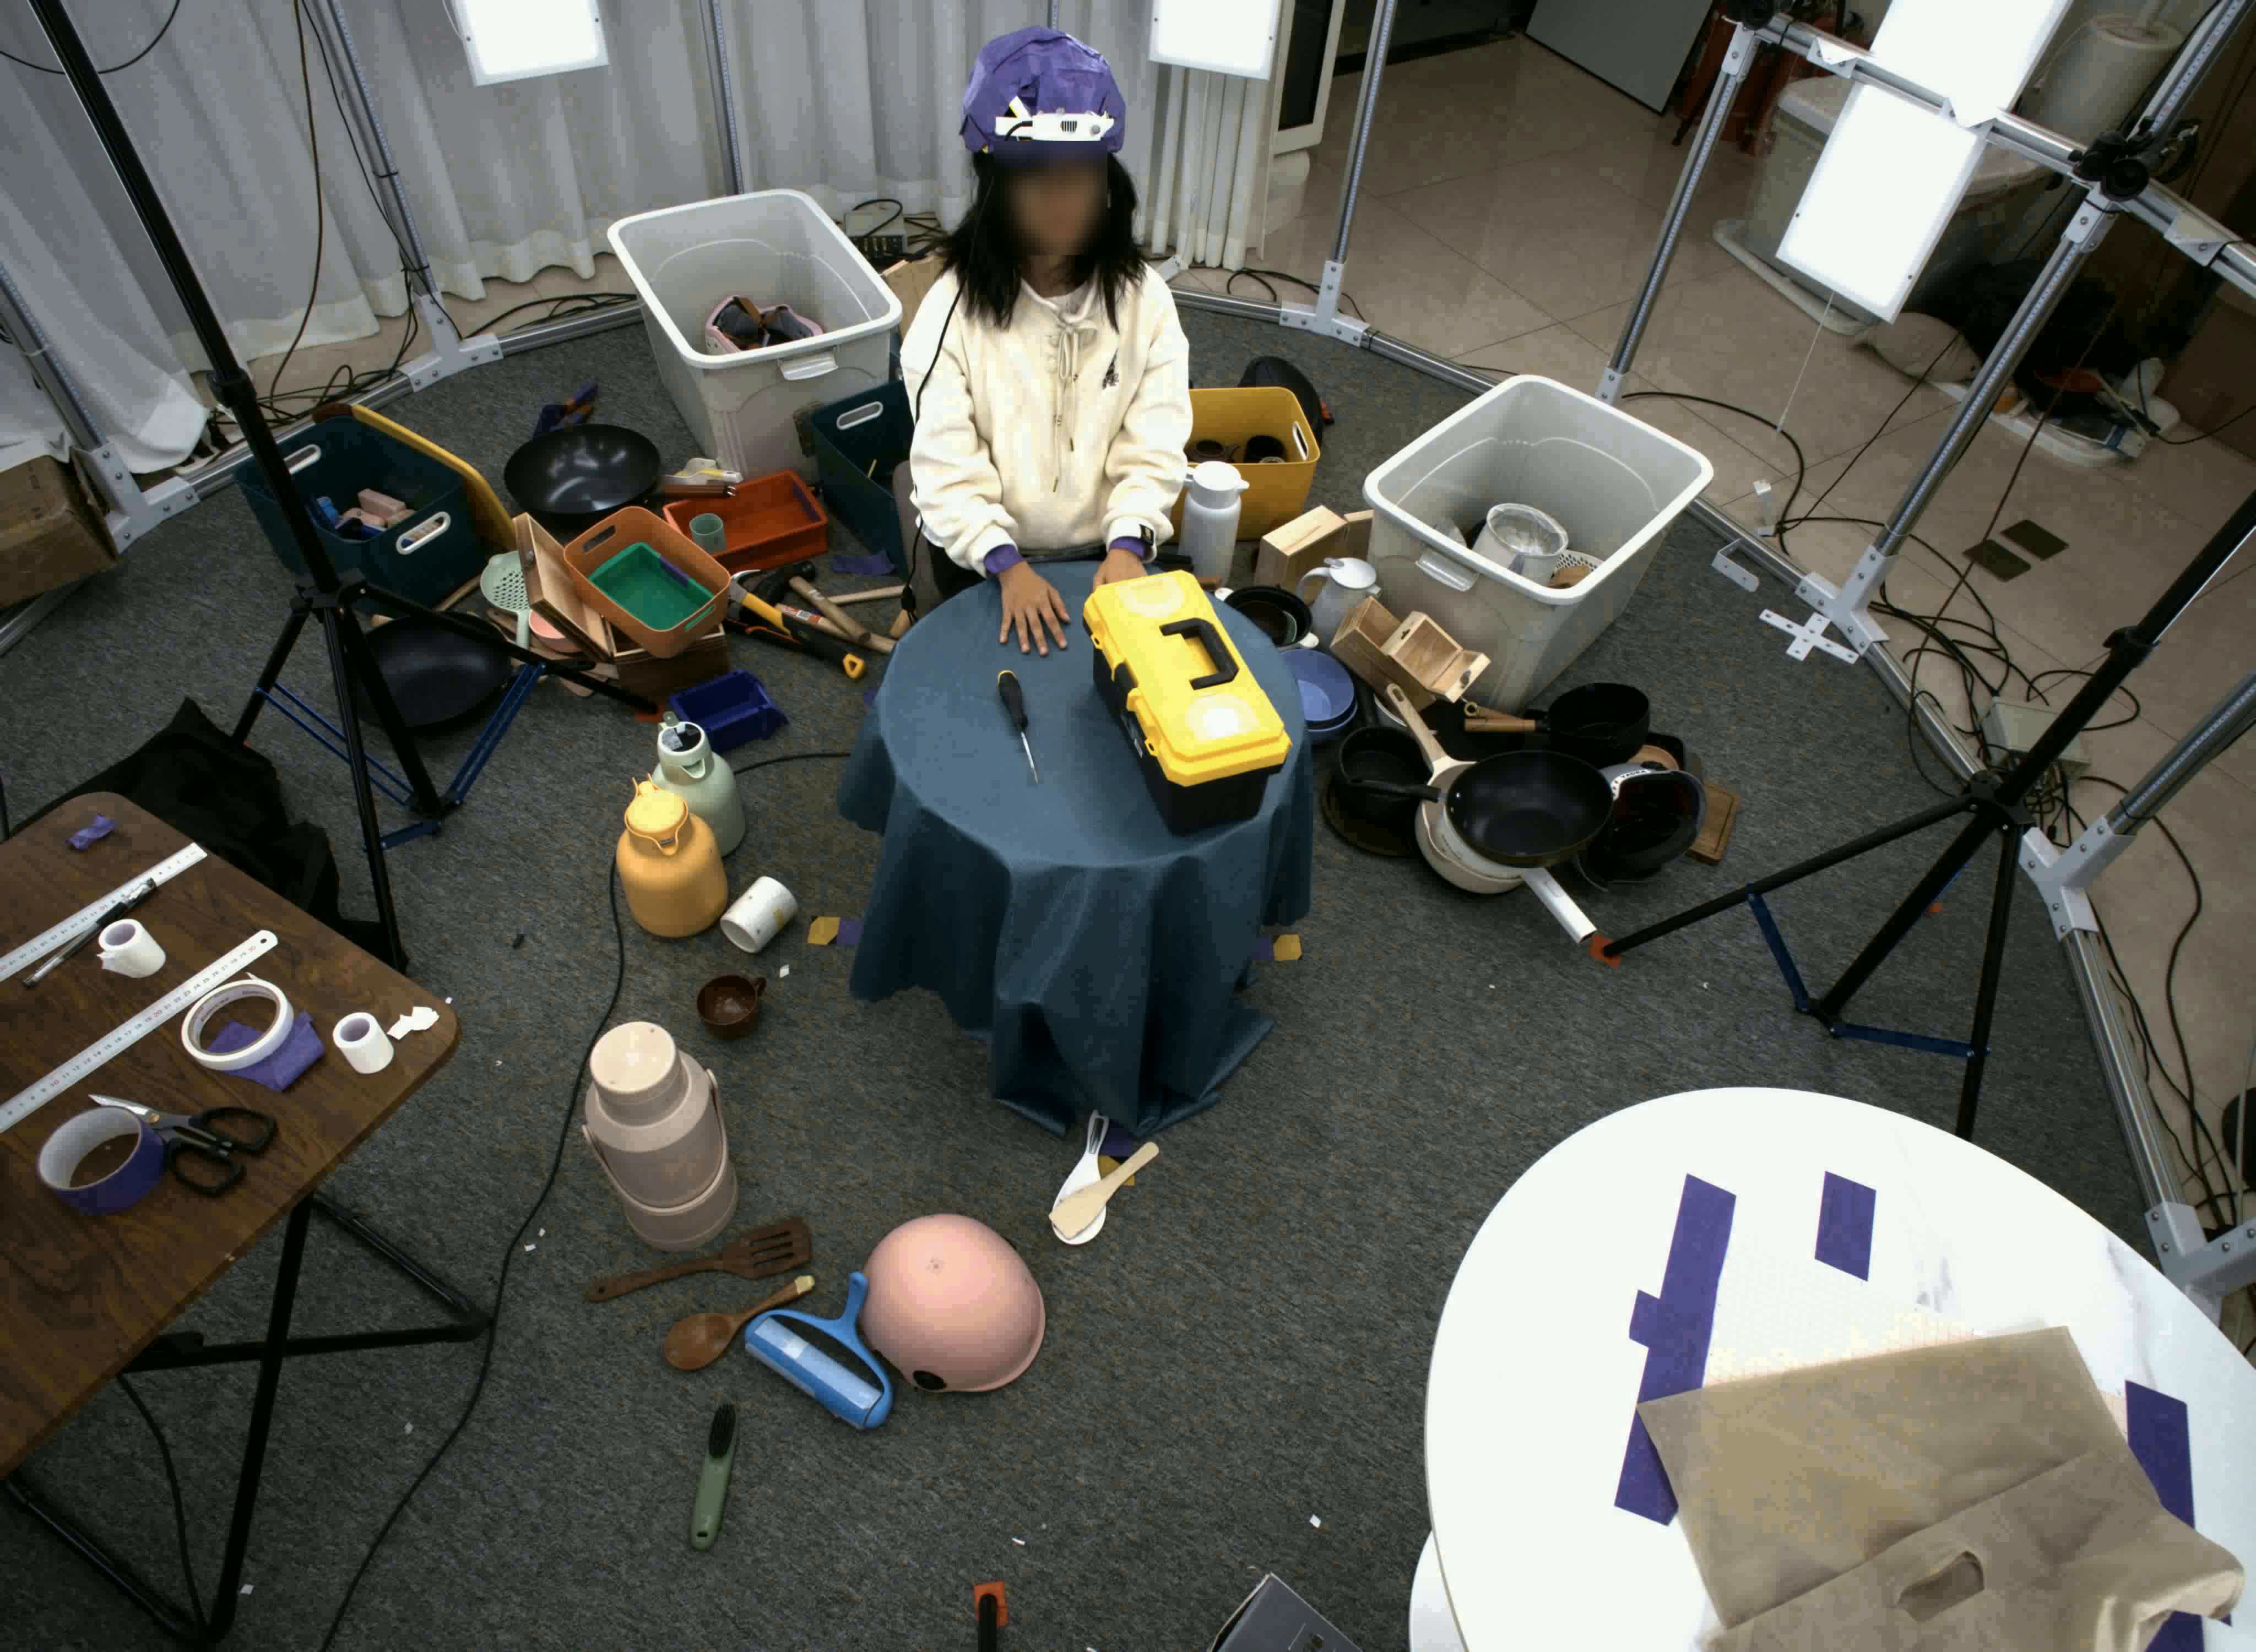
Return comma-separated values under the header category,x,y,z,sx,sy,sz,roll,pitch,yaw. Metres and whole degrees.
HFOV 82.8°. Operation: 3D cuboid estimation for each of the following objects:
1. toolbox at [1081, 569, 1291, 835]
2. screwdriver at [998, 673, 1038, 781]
category,x,y,z,sx,sy,sz,roll,pitch,yaw
toolbox,0.068,-0.167,1.708,0.181,0.168,0.360,-13,51,-15
screwdriver,-0.150,-0.135,1.770,0.031,0.031,0.202,-9,55,-12
